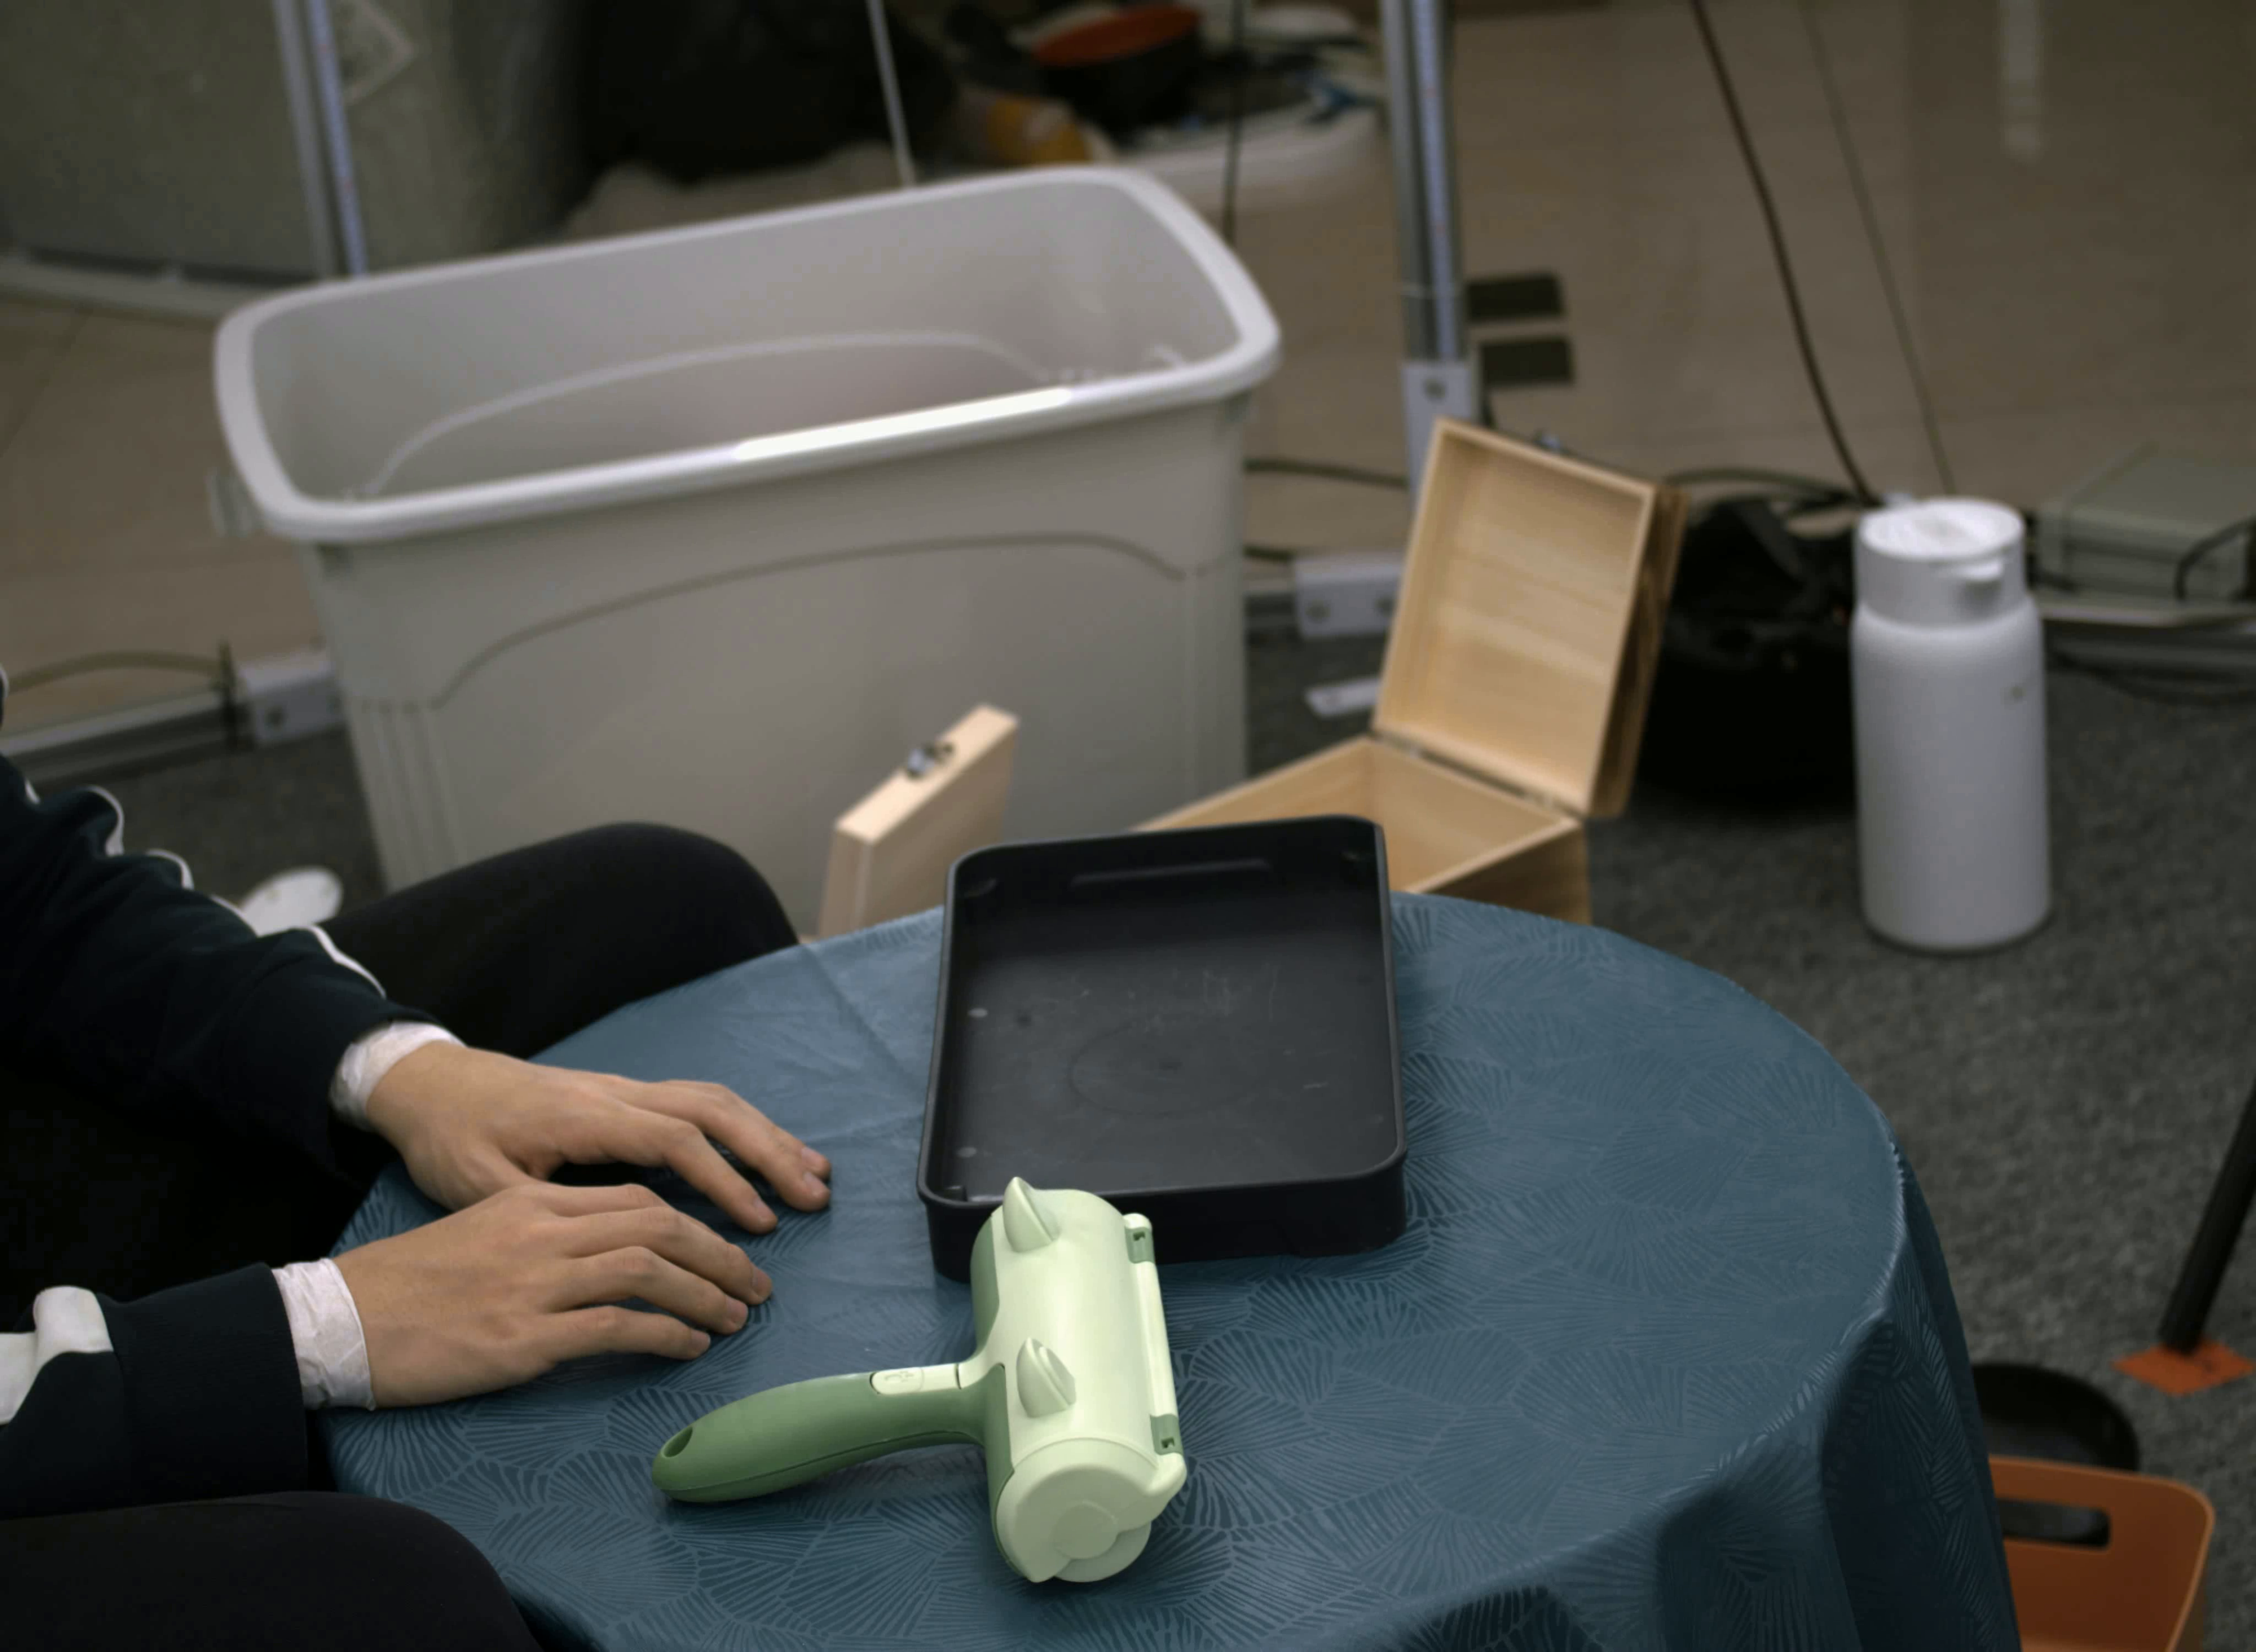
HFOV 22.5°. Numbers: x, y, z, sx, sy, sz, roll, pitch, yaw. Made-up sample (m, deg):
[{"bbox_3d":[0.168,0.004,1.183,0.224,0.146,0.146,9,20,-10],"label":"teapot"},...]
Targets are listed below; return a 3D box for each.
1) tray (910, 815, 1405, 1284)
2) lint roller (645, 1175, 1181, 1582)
[{"bbox_3d":[0.015,0.083,2.217,0.184,0.037,0.313,-5,25,4],"label":"tray"},{"bbox_3d":[-0.078,0.188,1.963,0.183,0.083,0.195,-4,25,-2],"label":"lint roller"}]
